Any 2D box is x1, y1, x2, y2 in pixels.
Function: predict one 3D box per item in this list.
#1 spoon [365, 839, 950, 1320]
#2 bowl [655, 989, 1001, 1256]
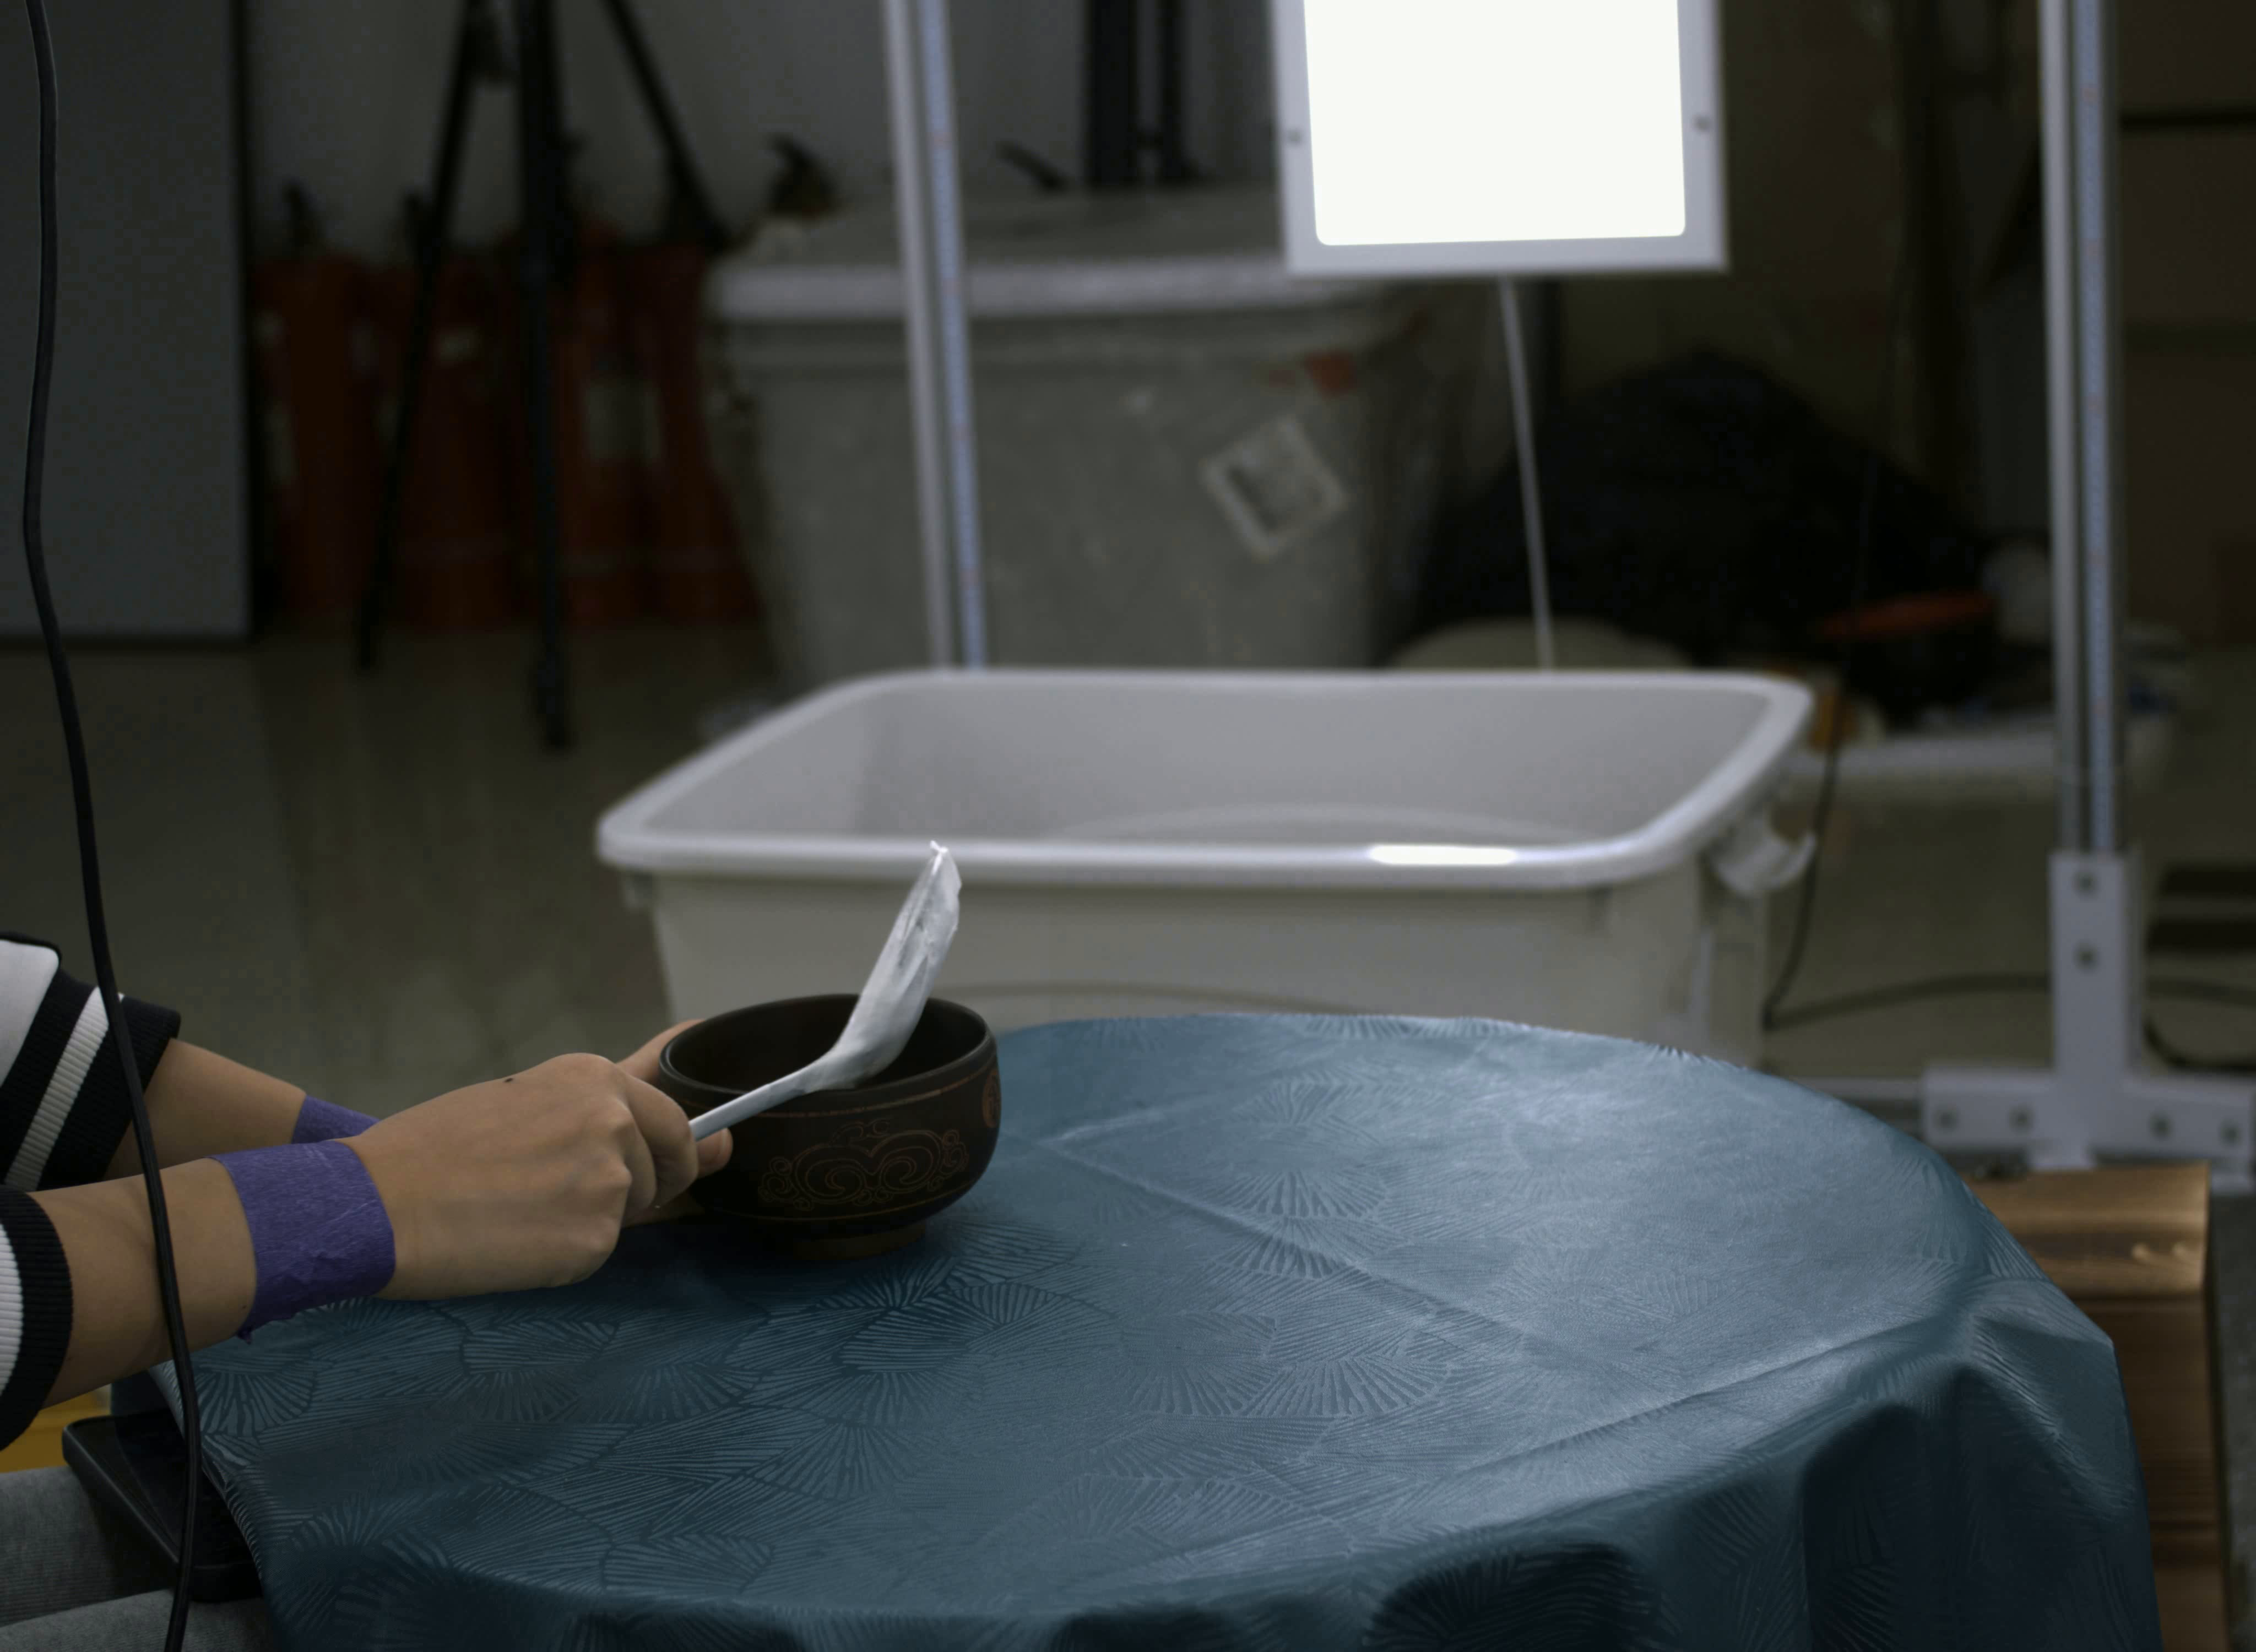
[{"bbox_3d":[-0.153,0.086,1.791,0.271,0.102,0.060,-26,60,-36],"label":"spoon"},{"bbox_3d":[-0.100,0.104,1.870,0.118,0.070,0.118,-5,15,0],"label":"bowl"}]
